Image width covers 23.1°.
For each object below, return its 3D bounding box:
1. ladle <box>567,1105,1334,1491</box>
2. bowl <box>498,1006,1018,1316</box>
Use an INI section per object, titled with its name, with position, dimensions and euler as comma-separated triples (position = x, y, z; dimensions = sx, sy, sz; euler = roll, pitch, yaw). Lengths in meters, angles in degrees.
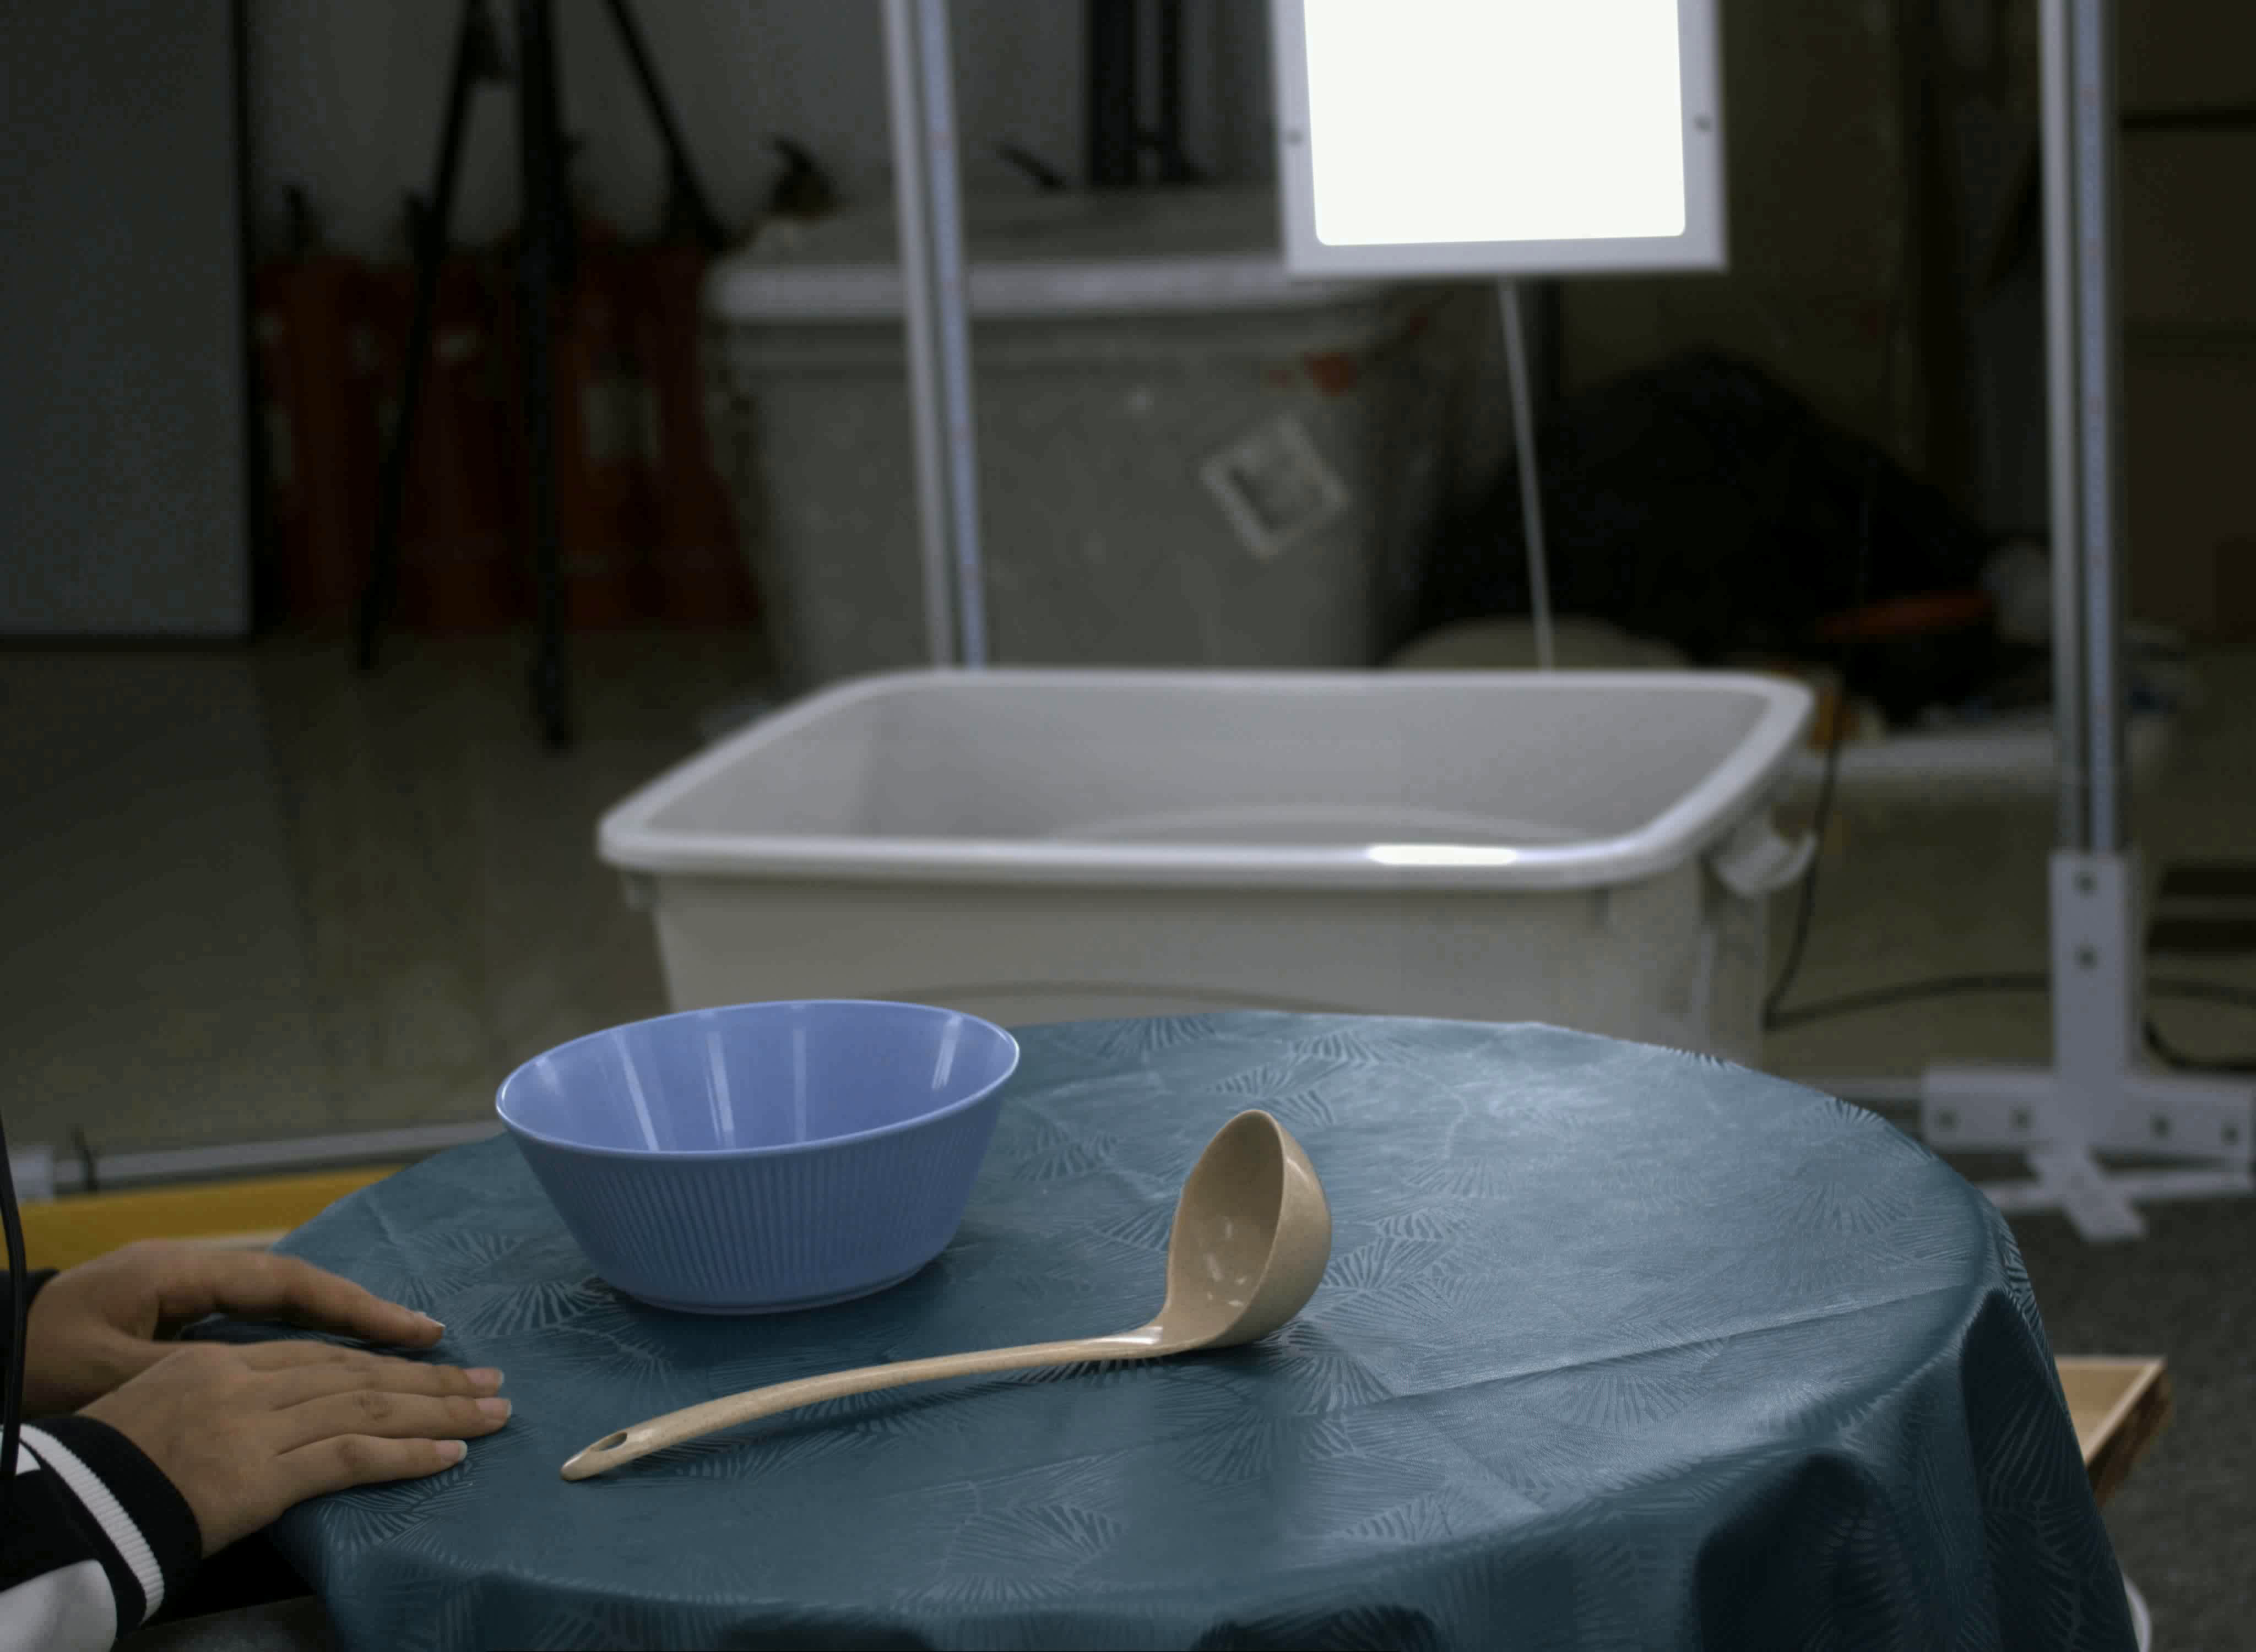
[ladle]
position = -0.057, 0.143, 1.699
dimensions = 0.249, 0.073, 0.073
euler = -10, 14, -21
[bowl]
position = -0.121, 0.114, 1.845
dimensions = 0.175, 0.070, 0.176
euler = -5, 13, 0
